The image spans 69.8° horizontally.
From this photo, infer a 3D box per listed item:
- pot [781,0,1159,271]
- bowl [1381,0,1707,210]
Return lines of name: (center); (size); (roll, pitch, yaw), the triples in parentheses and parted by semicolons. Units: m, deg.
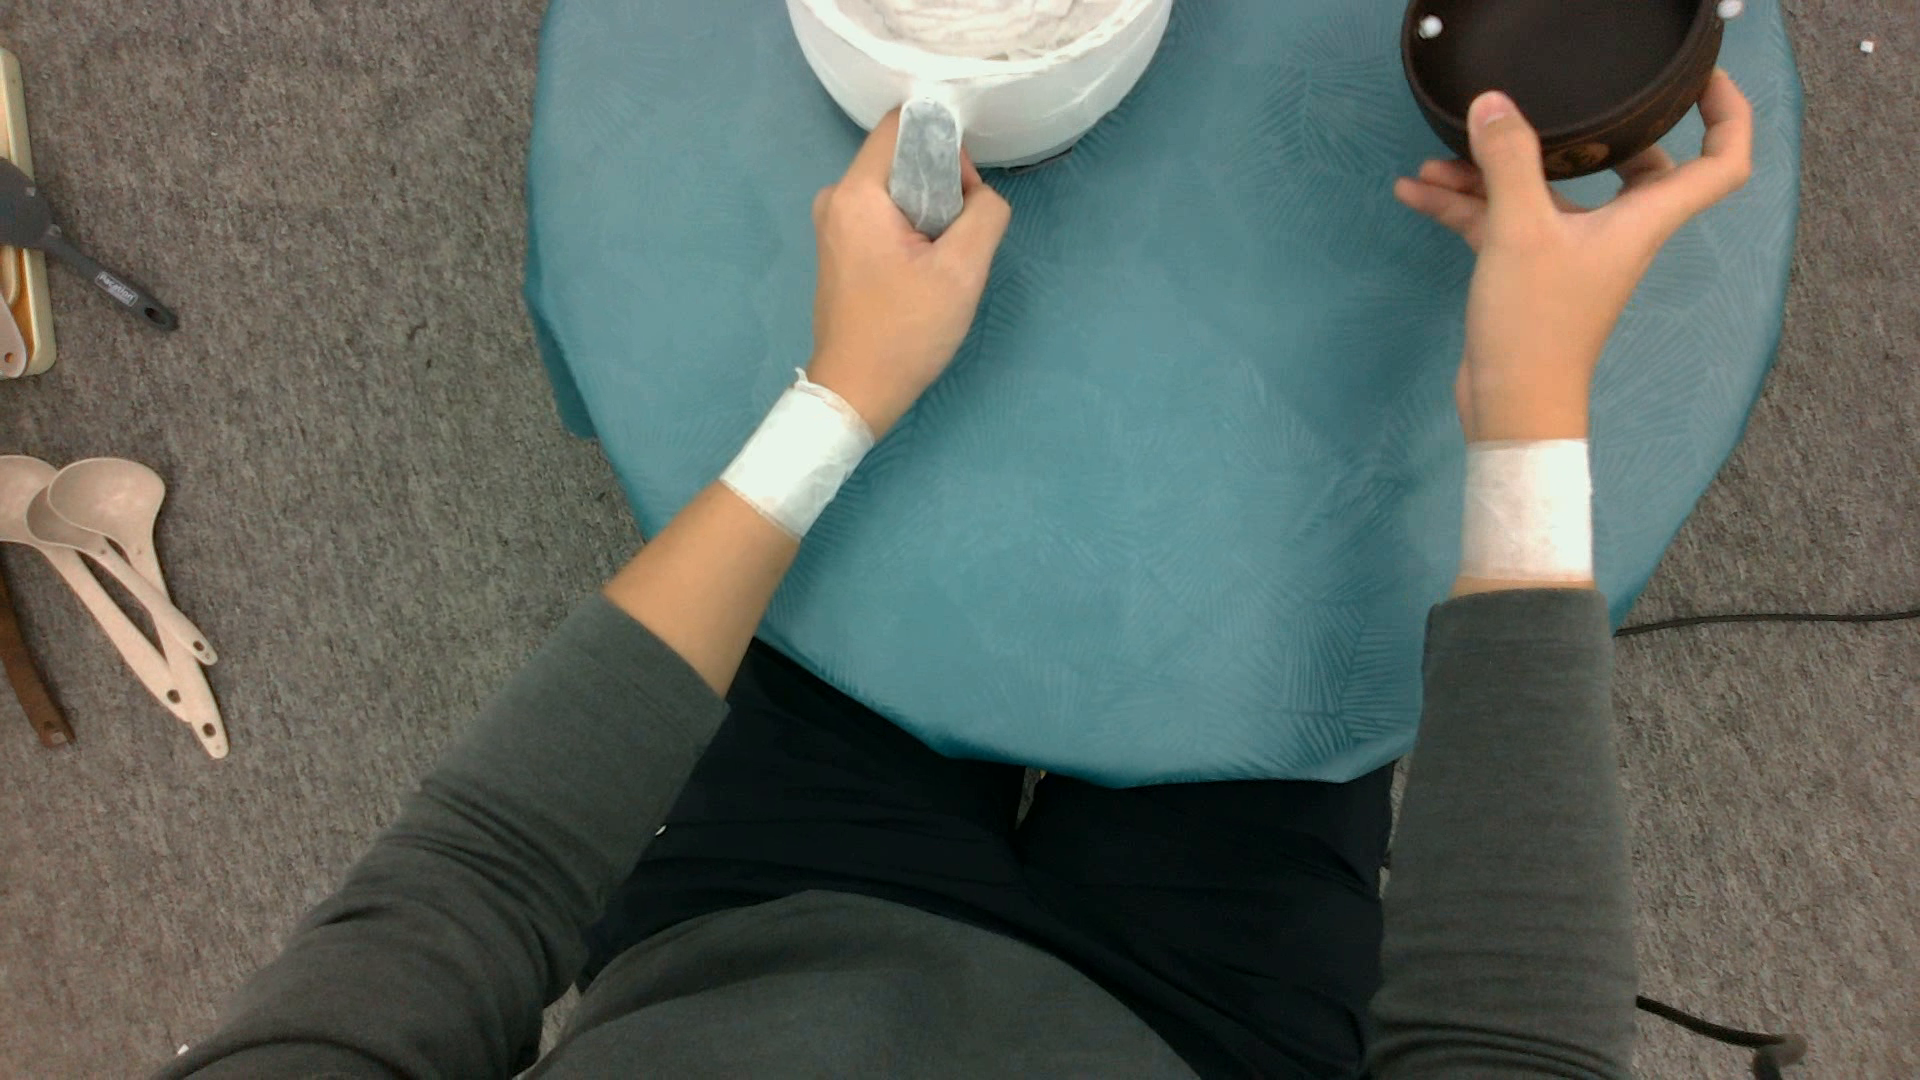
pot: (-0.001, -0.237, 0.589); (0.179, 0.136, 0.233); (9, 90, 1)
bowl: (0.239, -0.190, 0.561); (0.117, 0.070, 0.118); (-5, 80, 31)
